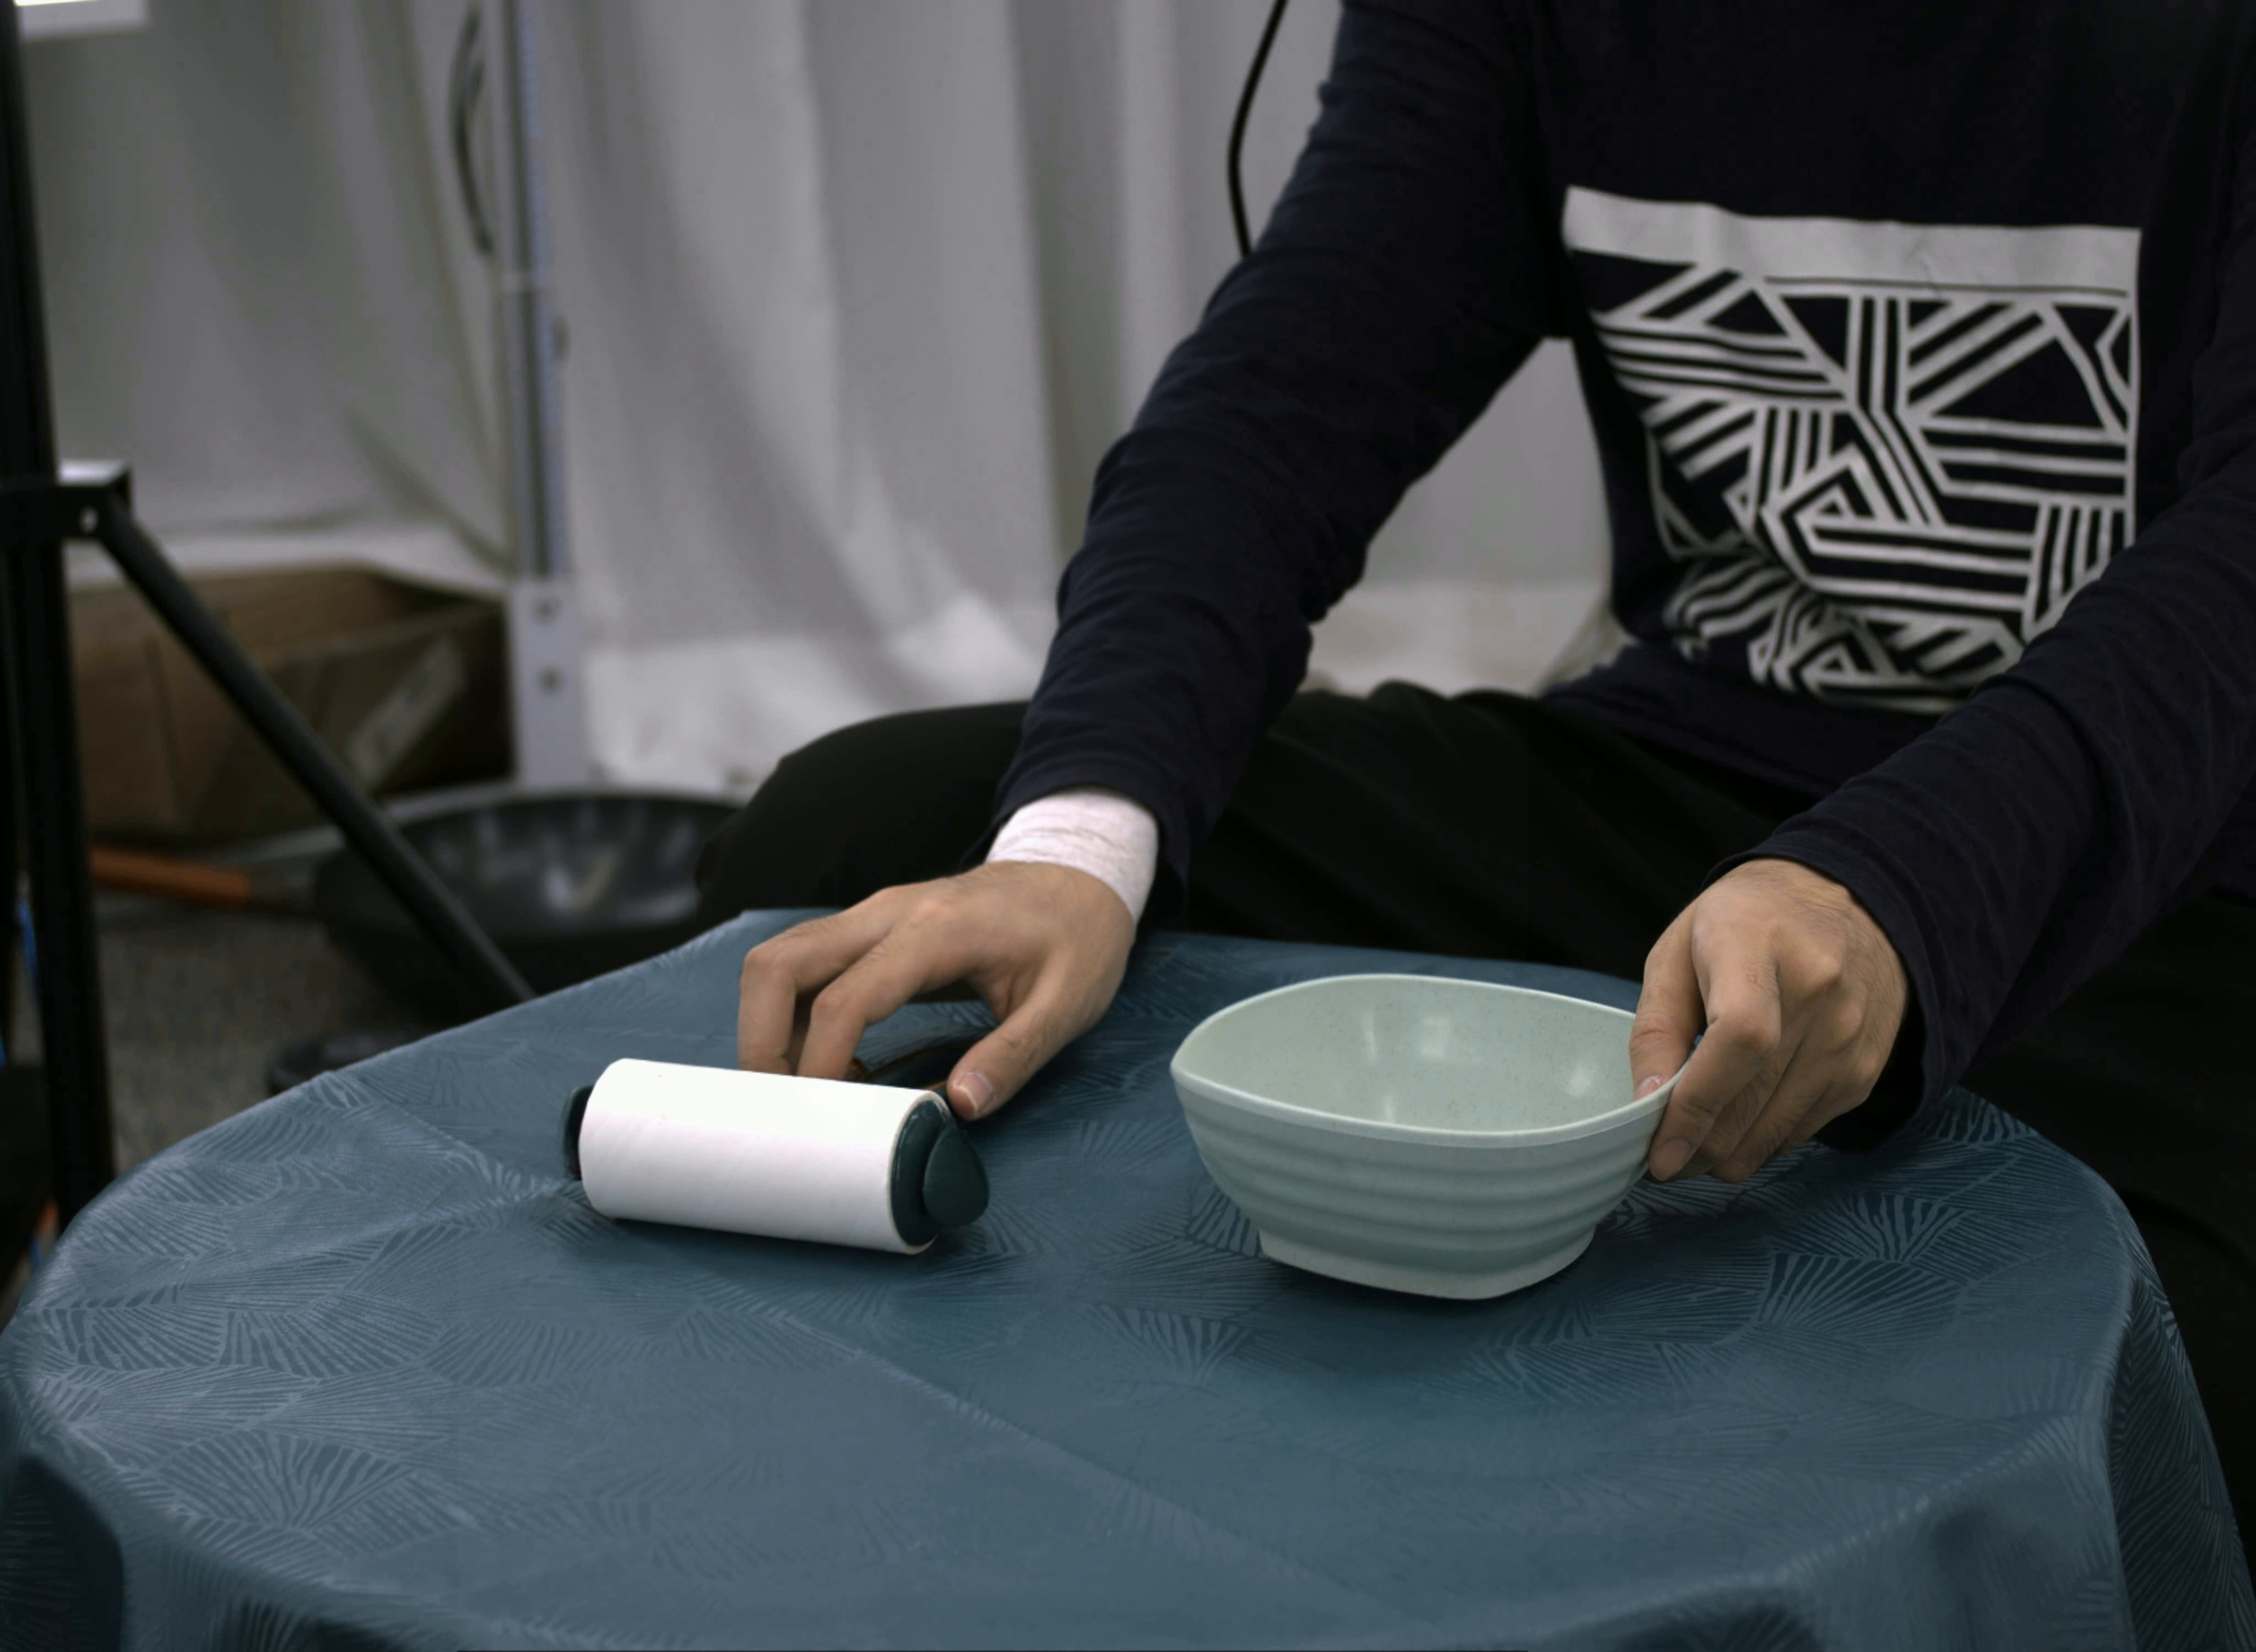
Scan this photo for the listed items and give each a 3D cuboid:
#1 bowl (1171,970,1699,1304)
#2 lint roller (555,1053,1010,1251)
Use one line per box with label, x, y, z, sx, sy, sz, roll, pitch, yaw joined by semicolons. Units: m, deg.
bowl;0.087;0.091;1.492;0.150;0.058;0.152;-3;17;-1
lint roller;-0.078;0.081;1.597;0.136;0.048;0.177;5;14;23
